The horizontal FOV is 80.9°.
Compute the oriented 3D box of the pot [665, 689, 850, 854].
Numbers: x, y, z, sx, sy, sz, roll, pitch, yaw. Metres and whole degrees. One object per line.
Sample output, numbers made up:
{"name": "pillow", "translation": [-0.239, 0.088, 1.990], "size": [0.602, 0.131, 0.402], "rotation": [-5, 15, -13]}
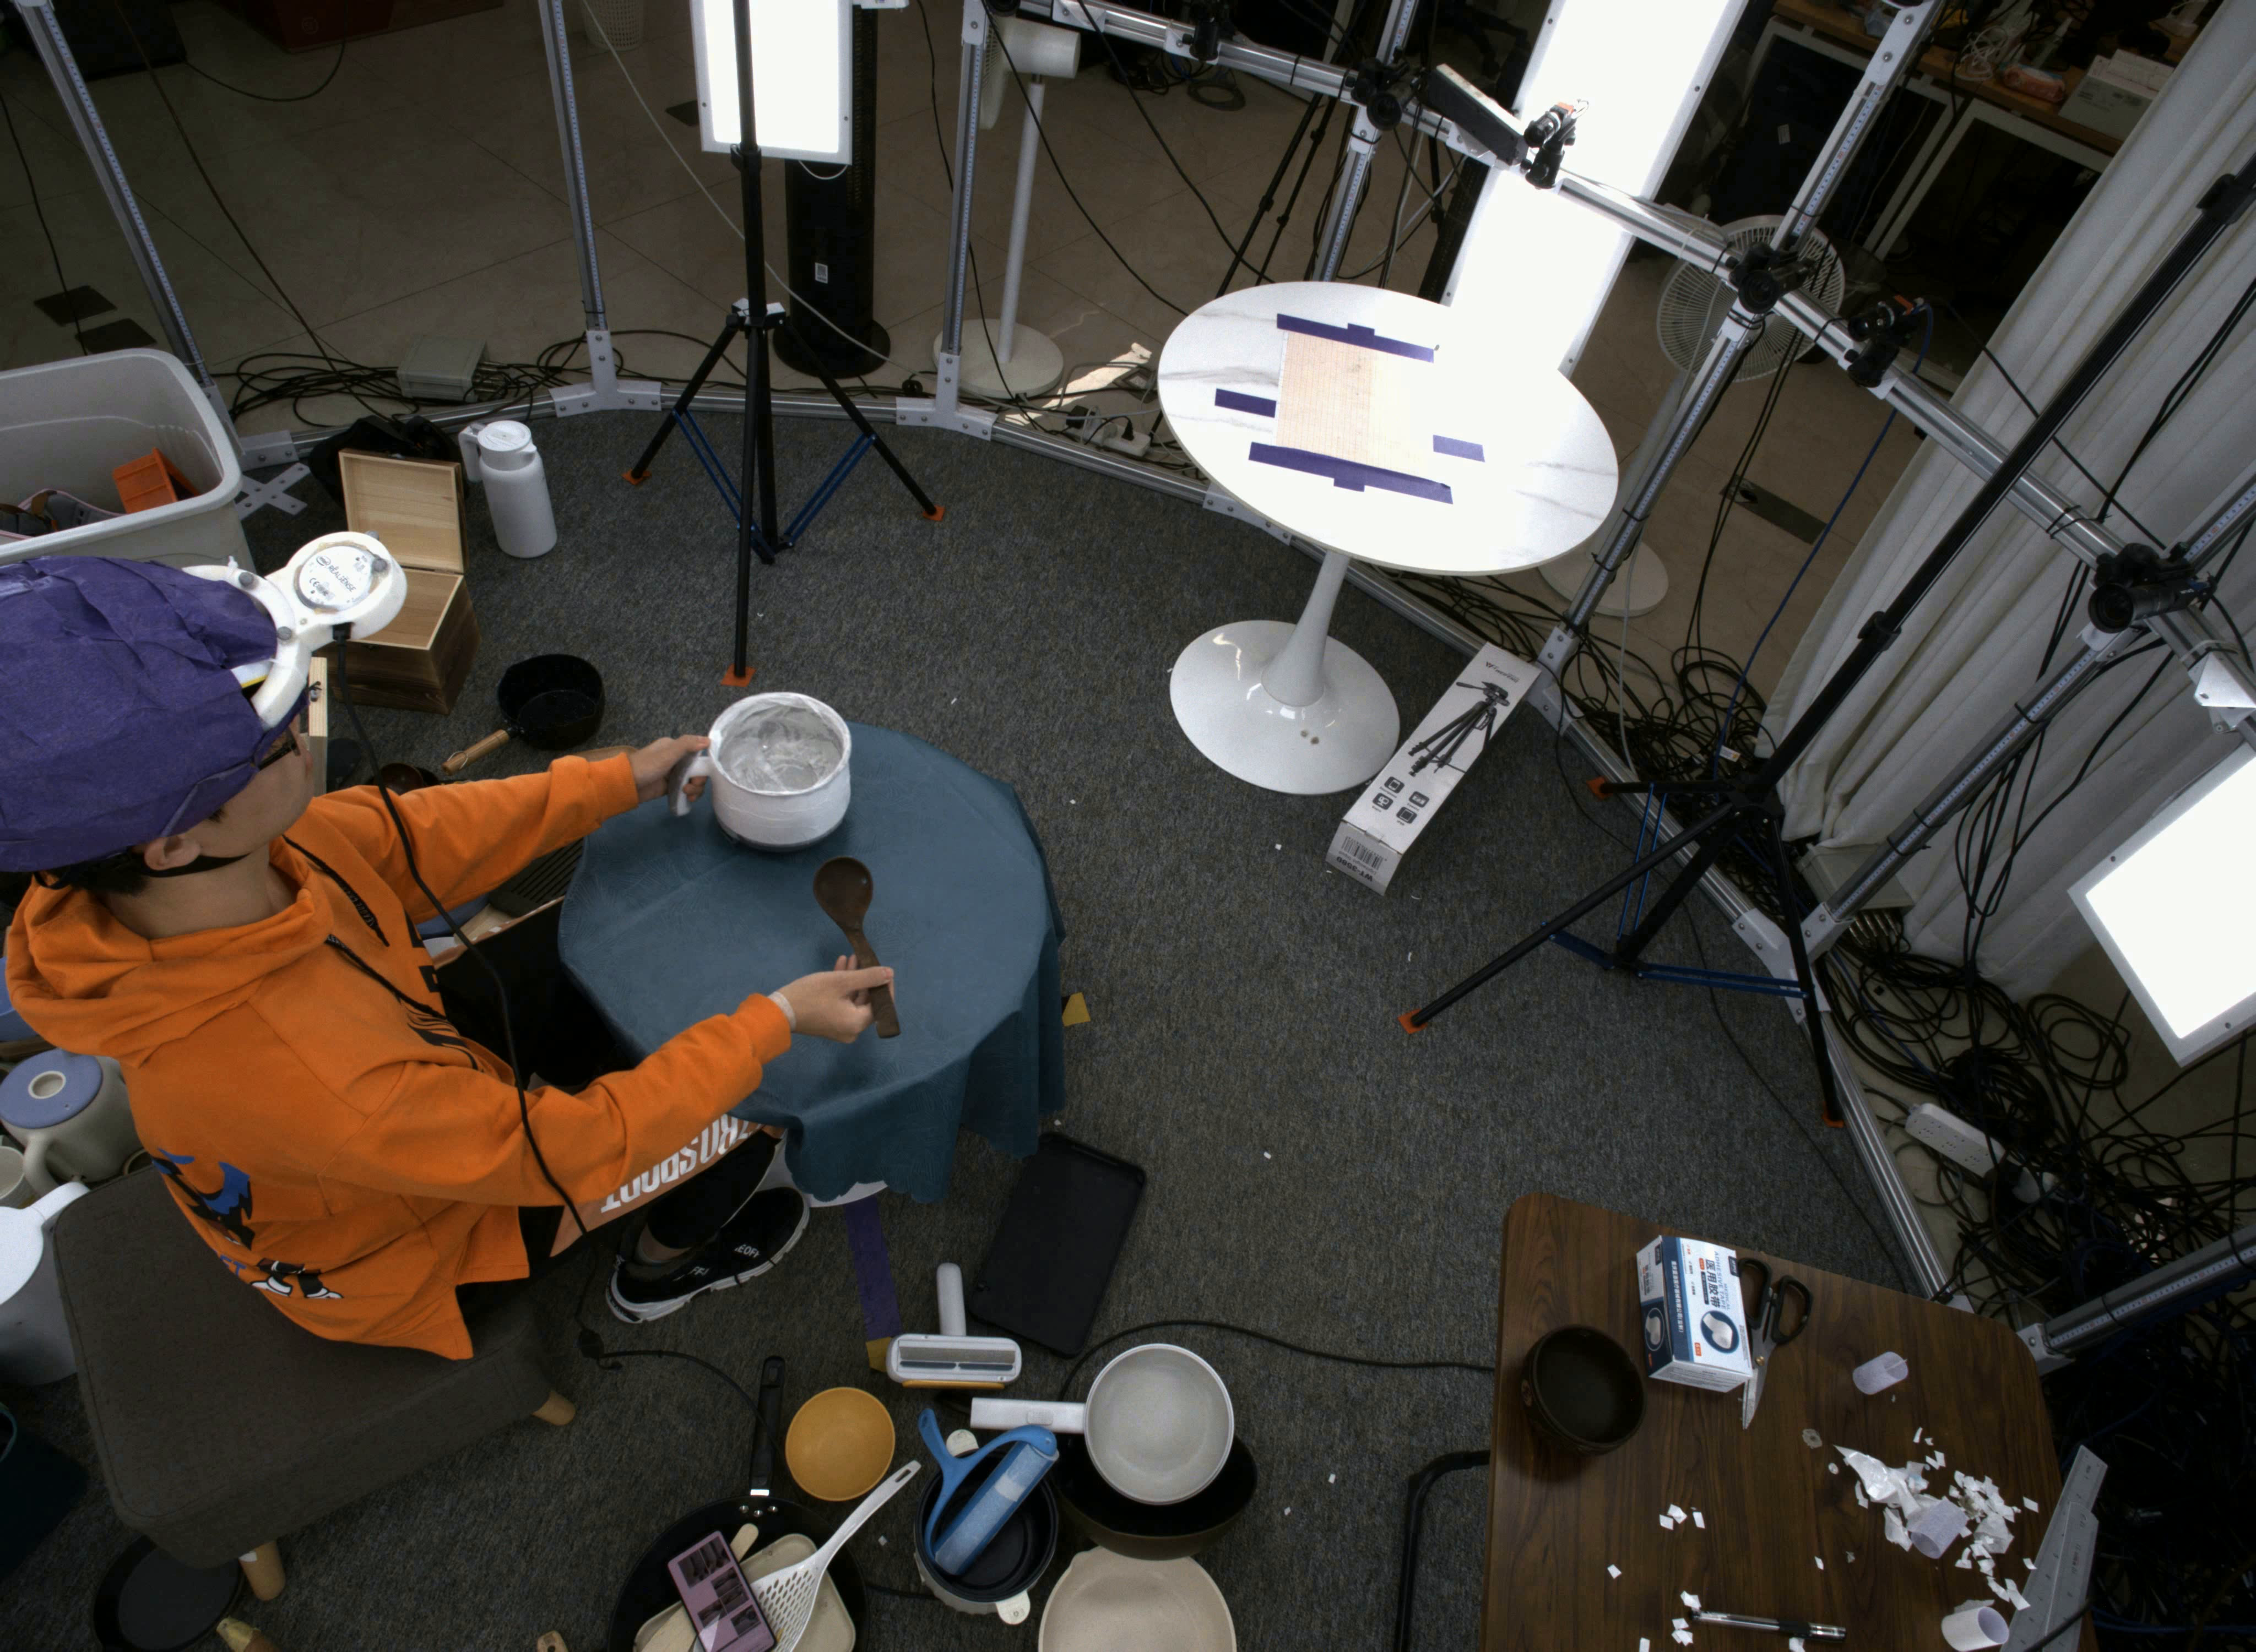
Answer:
{"name": "pot", "translation": [-0.472, -0.064, 1.647], "size": [0.235, 0.139, 0.174], "rotation": [-6, 52, -20]}

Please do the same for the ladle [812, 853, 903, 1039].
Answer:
{"name": "ladle", "translation": [-0.304, 0.128, 1.493], "size": [0.076, 0.073, 0.264], "rotation": [-7, 36, -23]}
